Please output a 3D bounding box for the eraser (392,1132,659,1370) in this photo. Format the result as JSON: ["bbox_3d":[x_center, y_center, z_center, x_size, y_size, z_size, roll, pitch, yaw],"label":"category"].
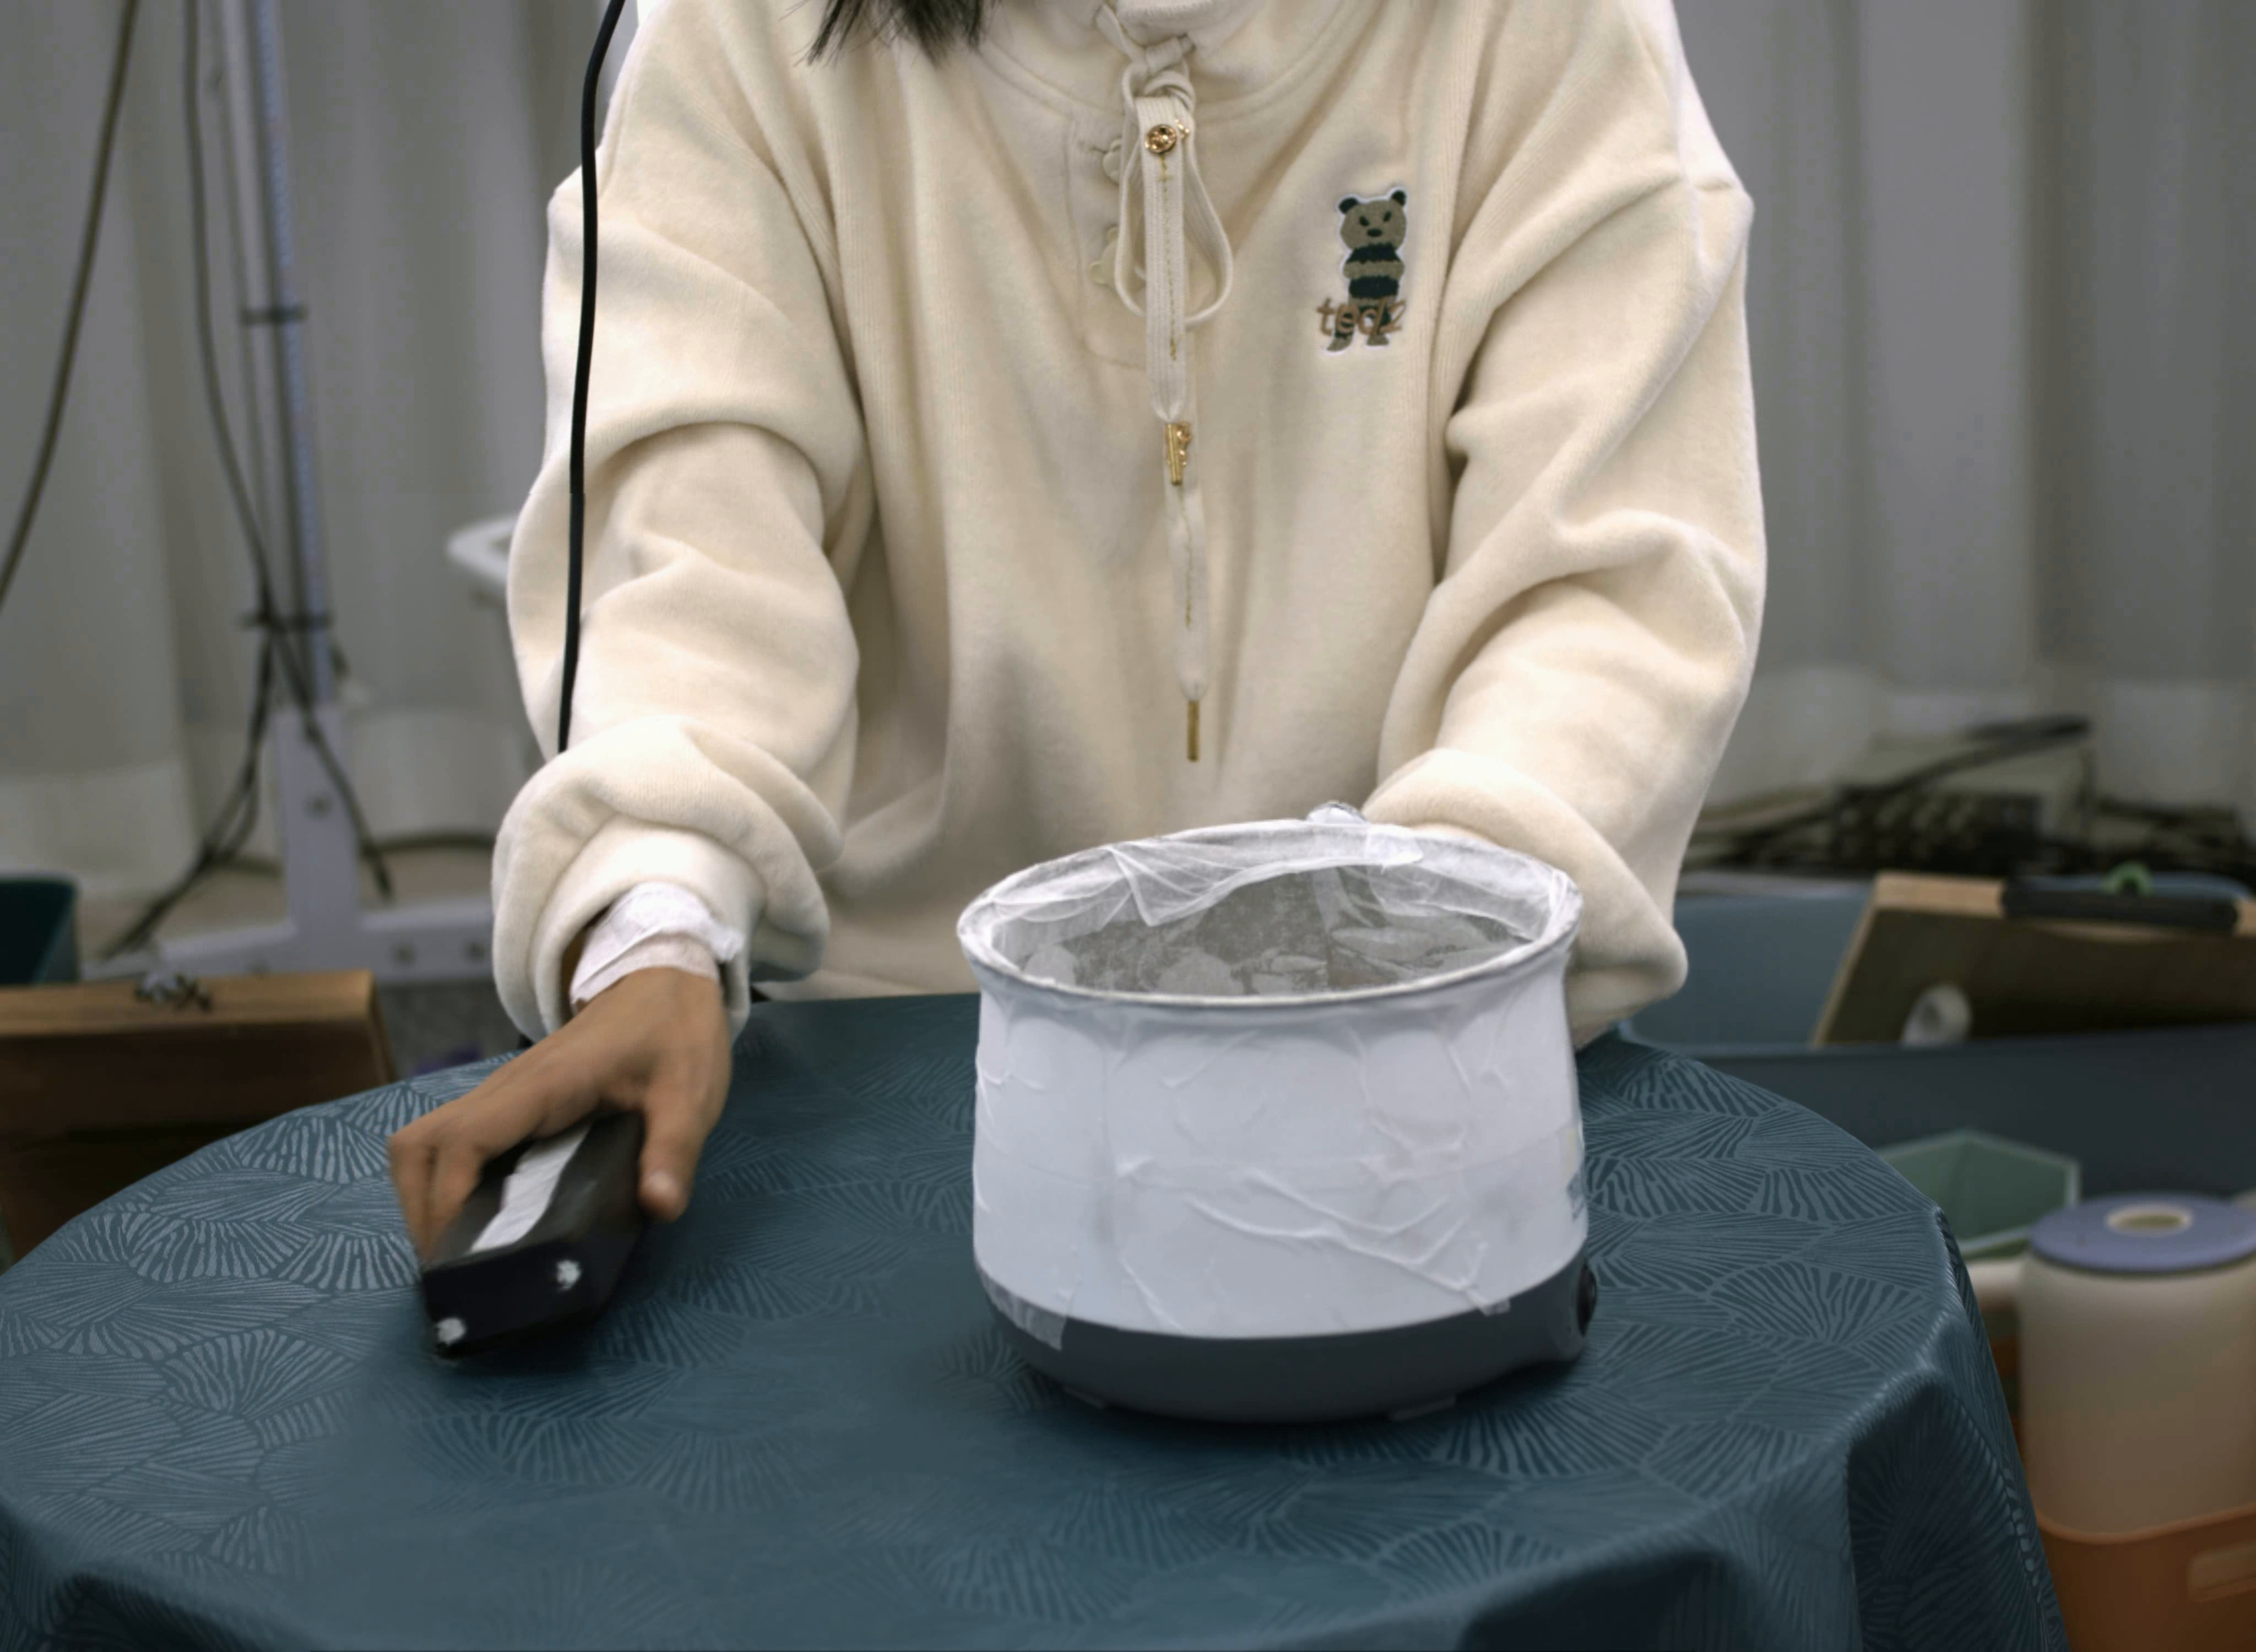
[{"bbox_3d":[-0.177,0.126,1.630,0.053,0.030,0.126,-12,12,10],"label":"eraser"}]

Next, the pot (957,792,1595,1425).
[{"bbox_3d":[0.048,0.076,1.580,0.178,0.136,0.235,1,16,12],"label":"pot"}]
